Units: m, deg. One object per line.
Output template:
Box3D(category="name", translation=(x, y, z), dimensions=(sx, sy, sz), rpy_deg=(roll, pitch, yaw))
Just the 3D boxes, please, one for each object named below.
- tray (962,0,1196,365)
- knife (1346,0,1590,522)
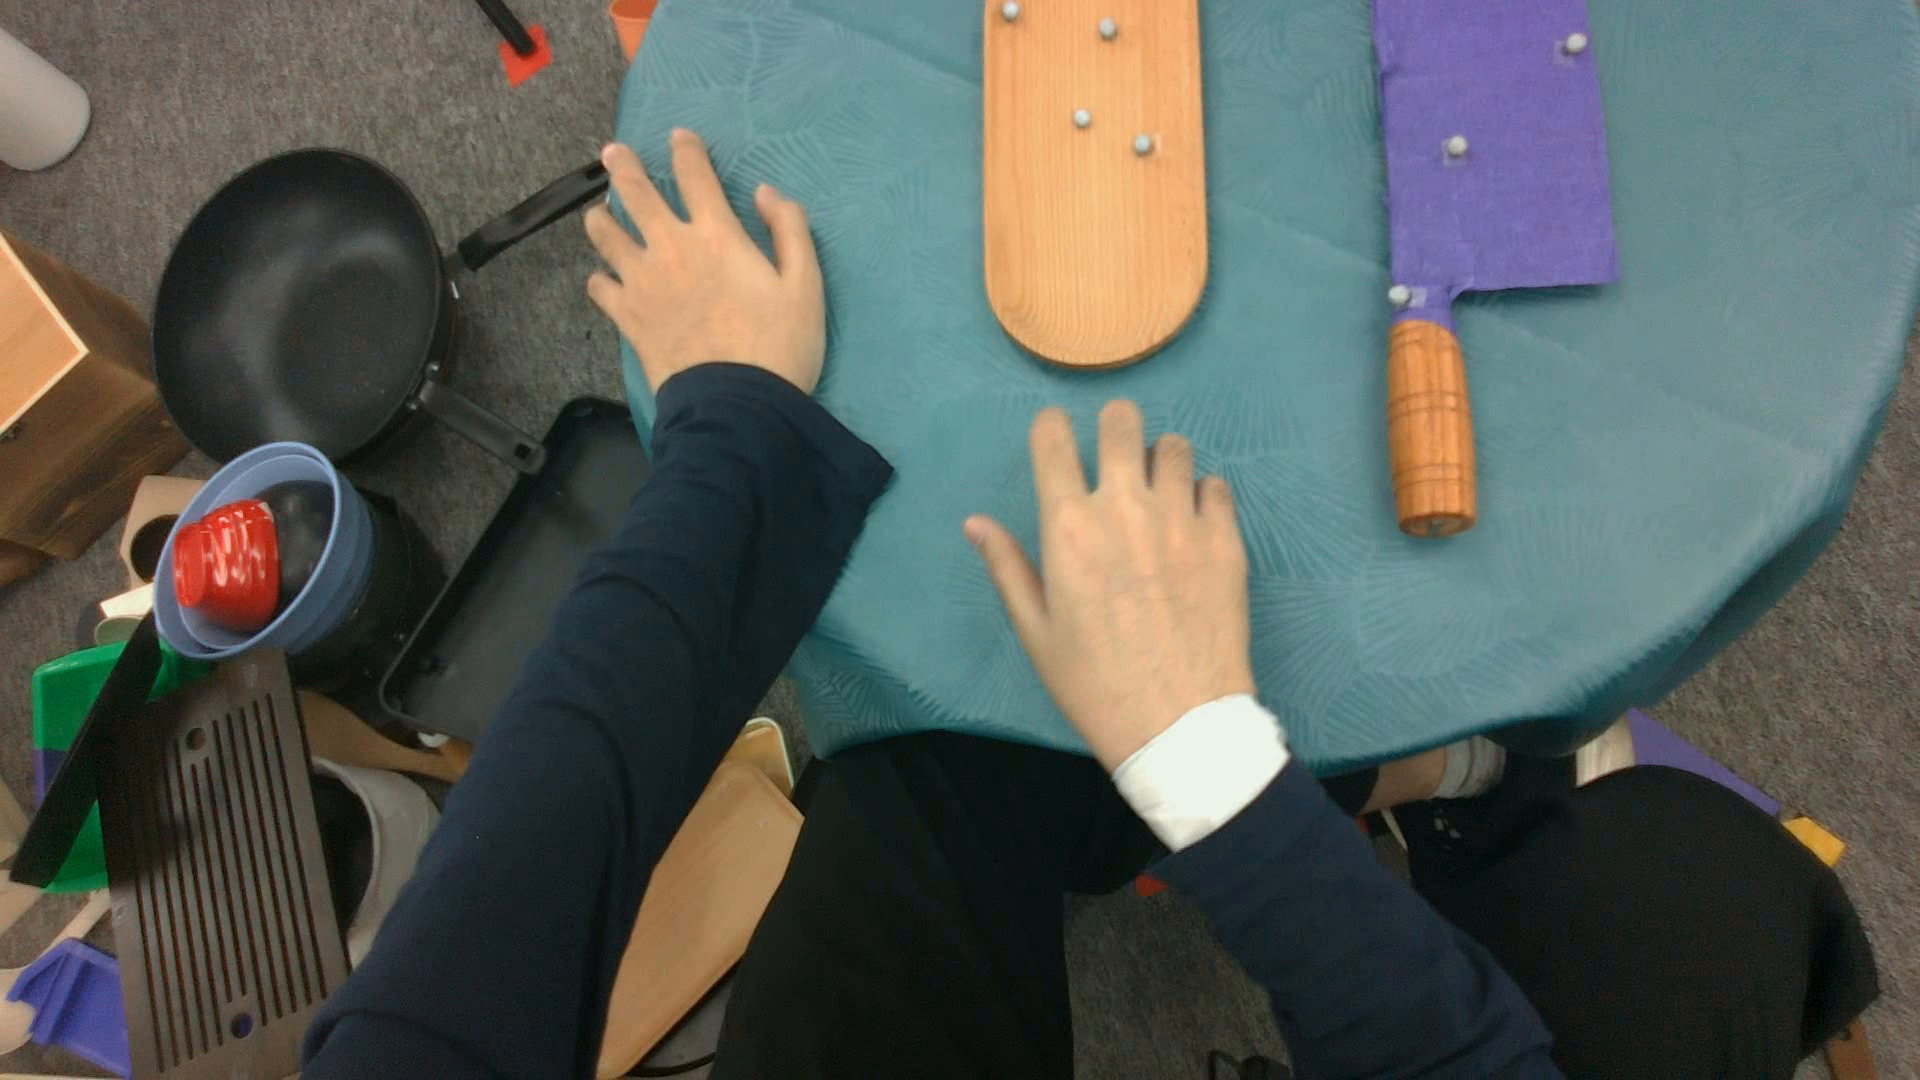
Box3D(category="tray", translation=(0.054, -0.189, 0.639), dimensions=(0.101, 0.020, 0.231), rpy_deg=(-5, 75, 10))
Box3D(category="knife", translation=(0.219, -0.162, 0.595), dimensions=(0.104, 0.032, 0.316), rpy_deg=(-3, 73, 10))
